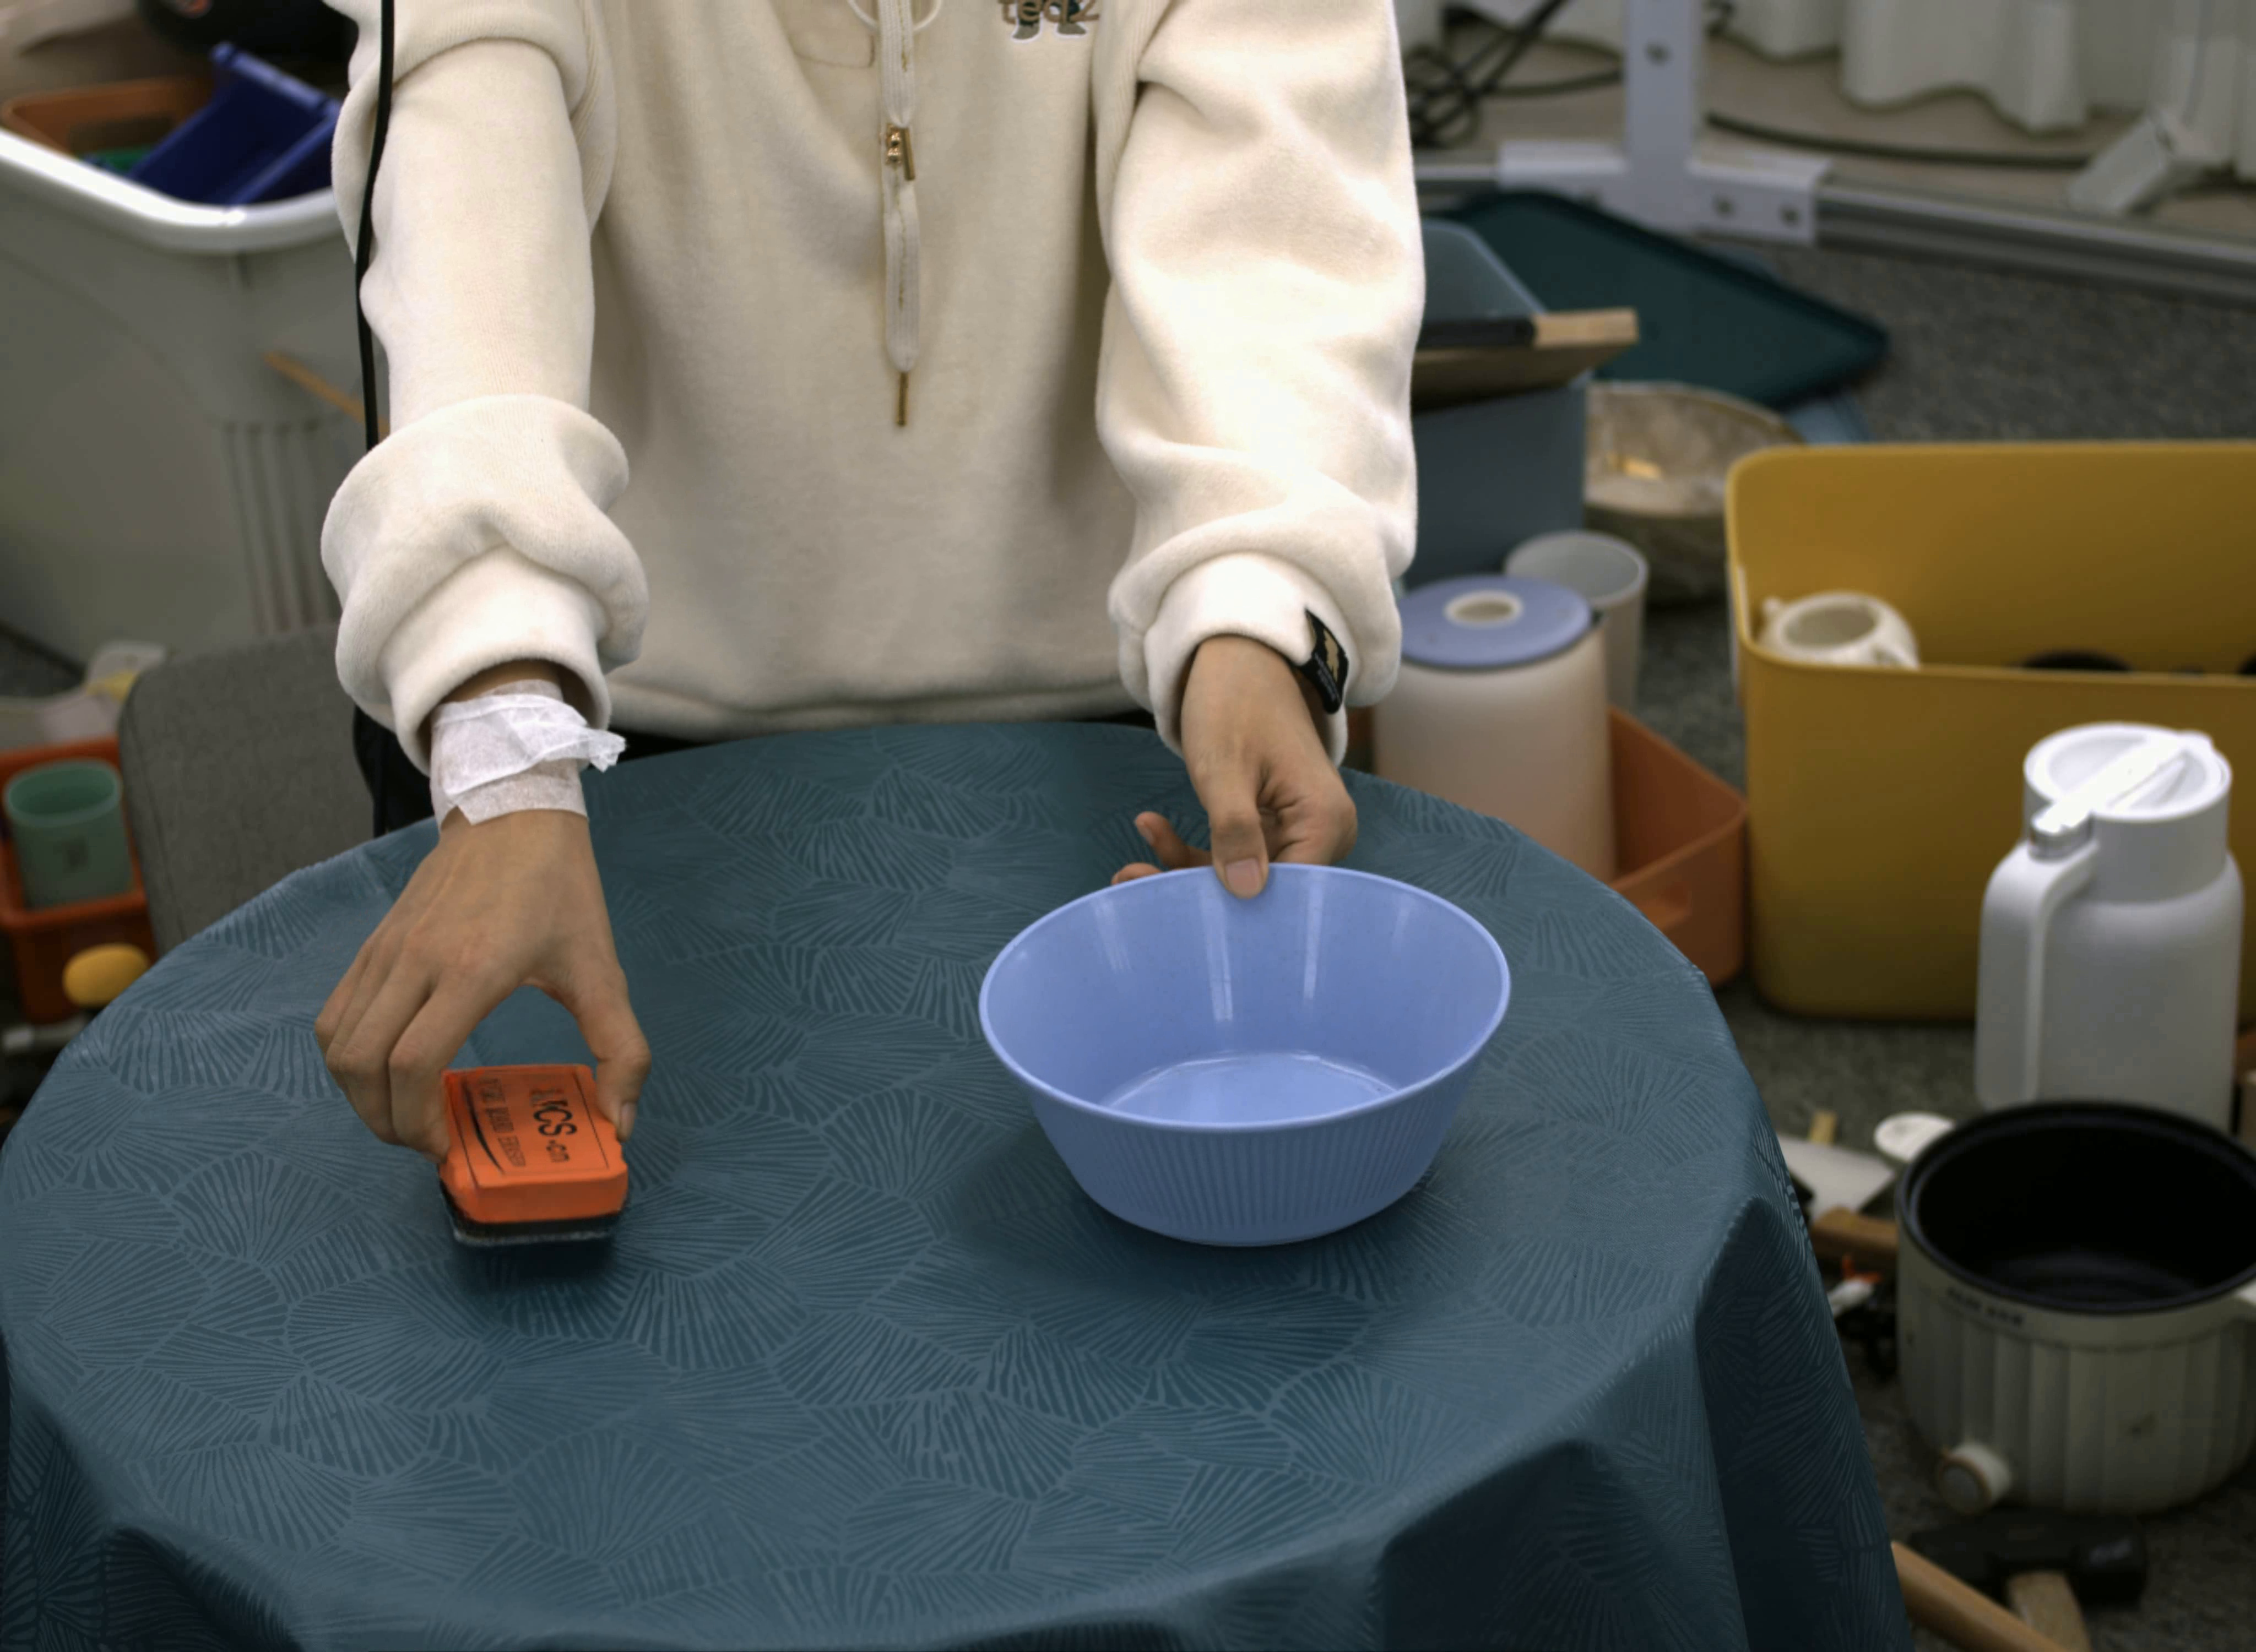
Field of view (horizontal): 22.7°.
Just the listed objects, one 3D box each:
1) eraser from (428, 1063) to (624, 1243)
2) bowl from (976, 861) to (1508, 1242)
[{"bbox_3d":[-0.200,0.108,1.861,0.059,0.023,0.109,-4,18,-11],"label":"eraser"},{"bbox_3d":[0.039,0.080,1.859,0.175,0.069,0.179,-3,27,2],"label":"bowl"}]
